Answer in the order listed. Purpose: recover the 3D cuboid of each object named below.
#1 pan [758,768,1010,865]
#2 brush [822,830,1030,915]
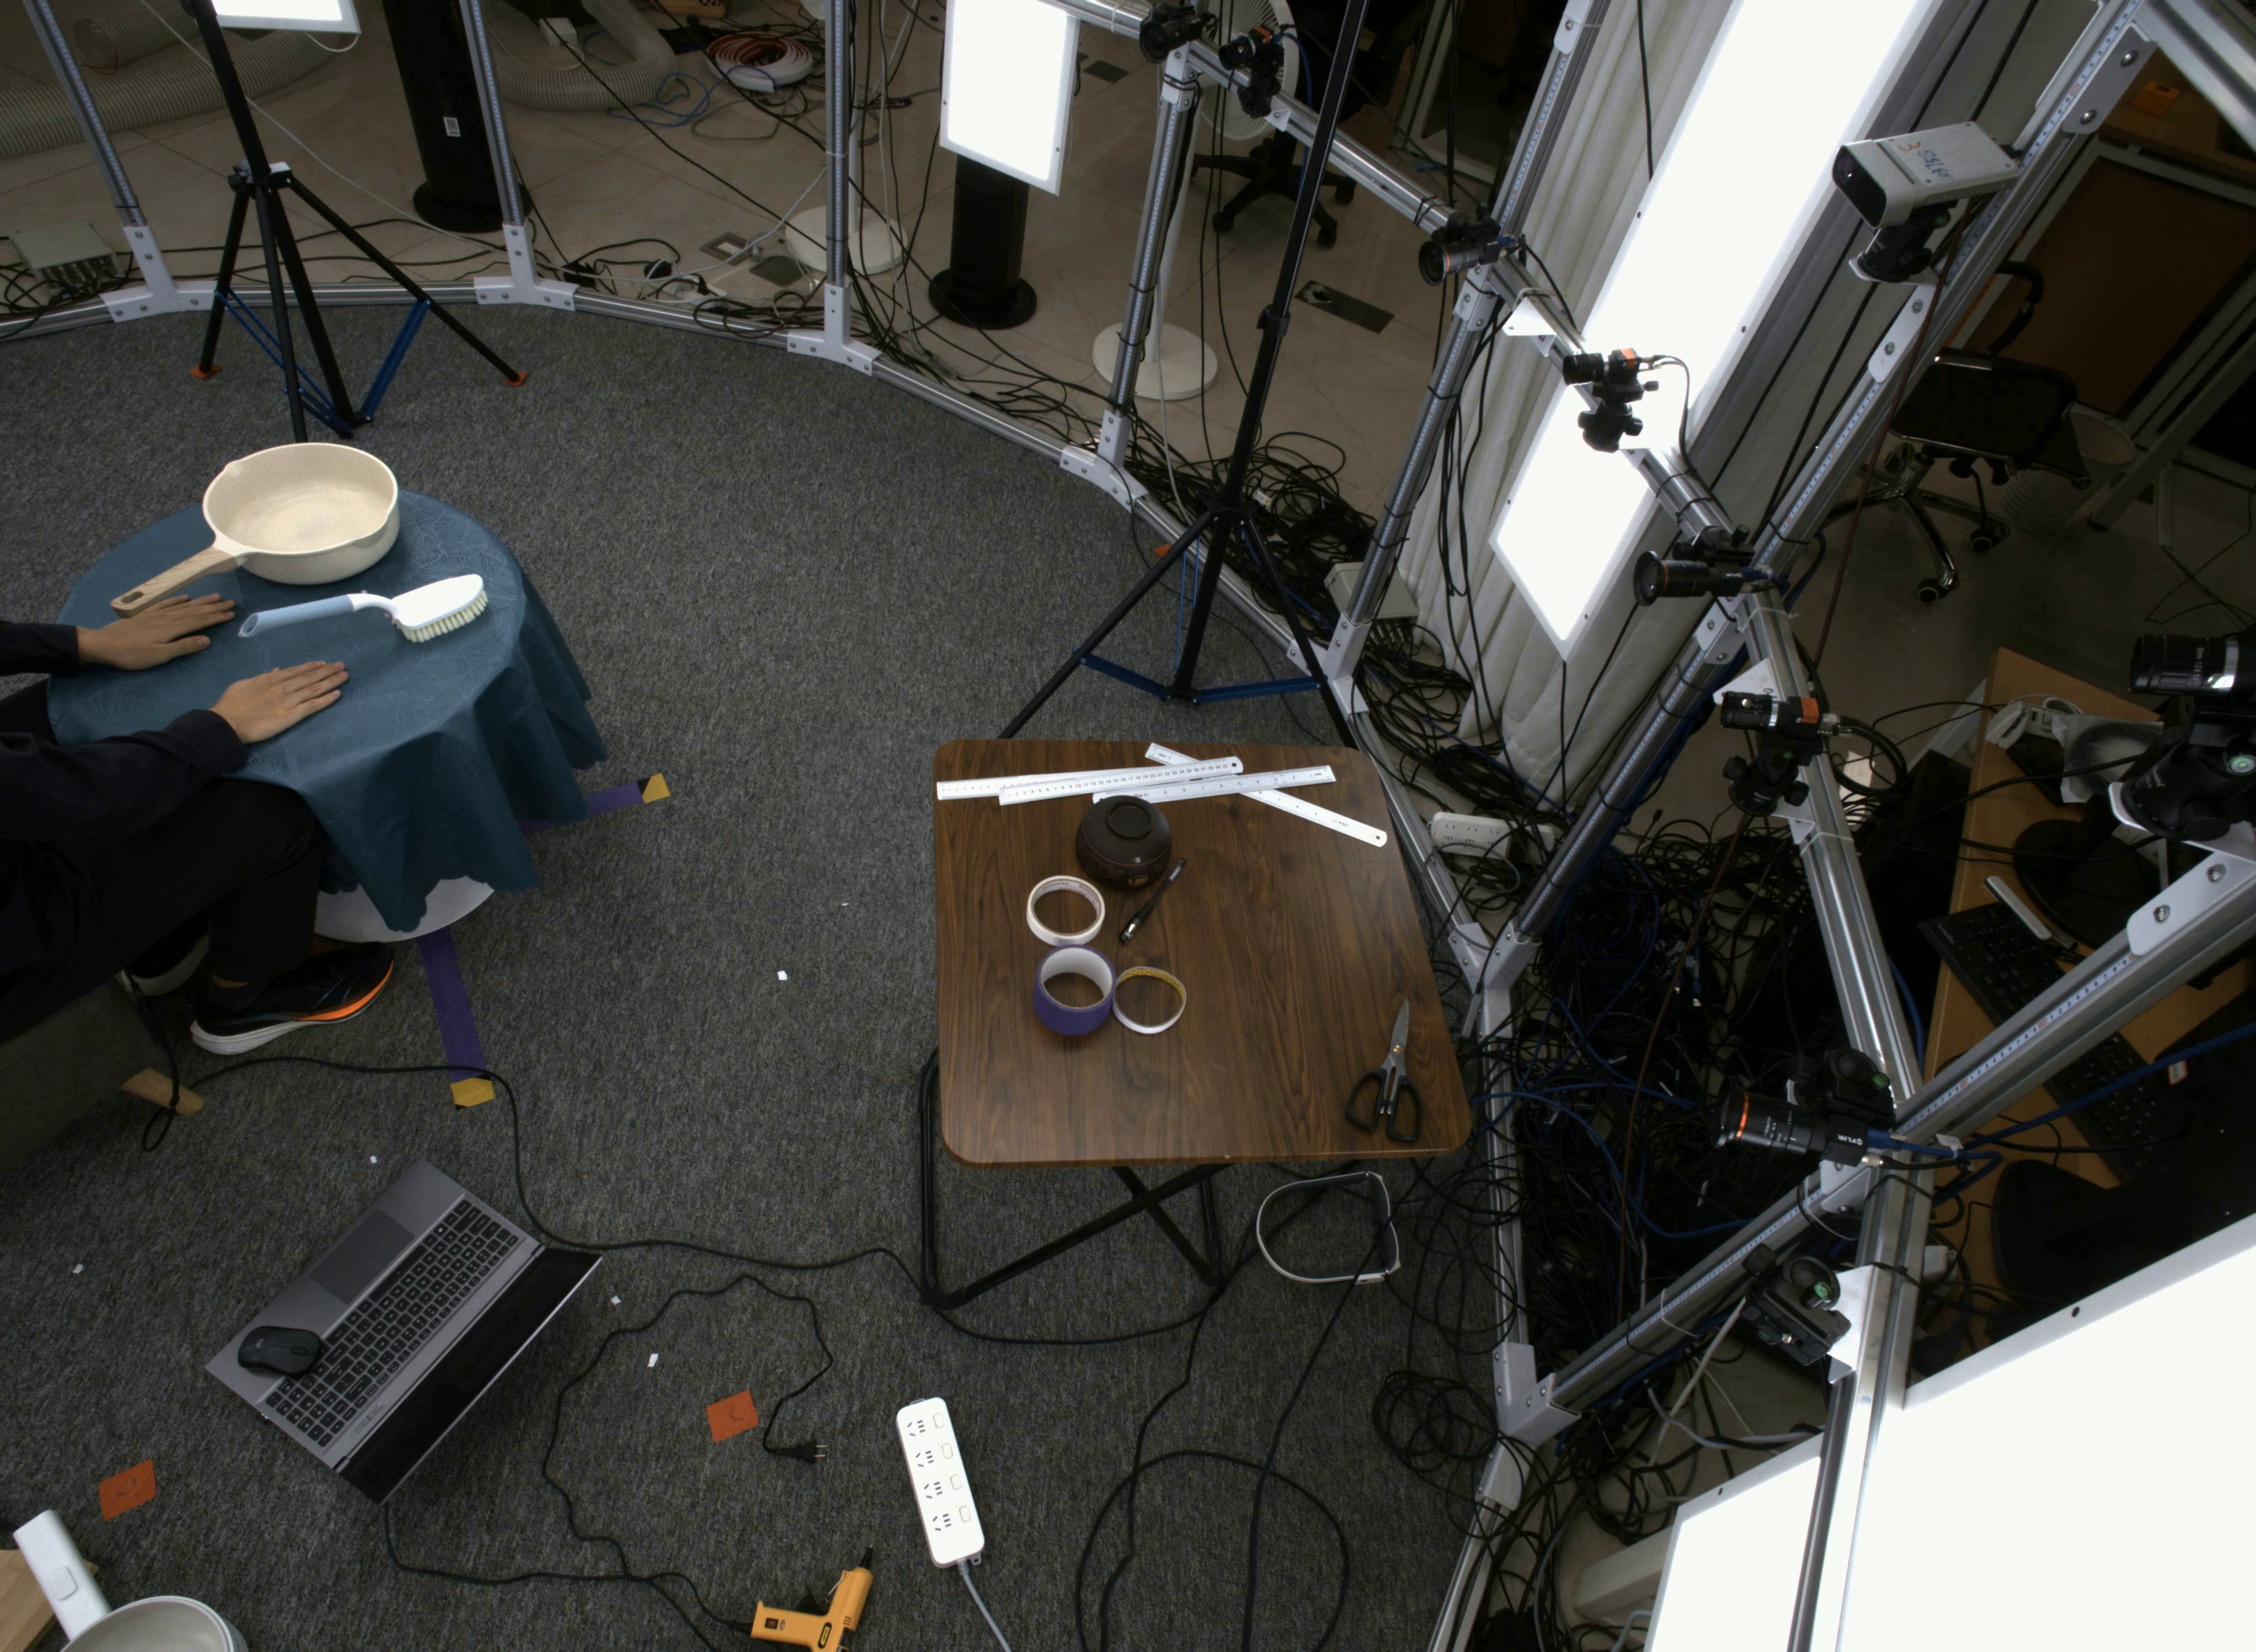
[{"bbox_3d":[-0.399,-0.007,2.132,0.440,0.105,0.253,-11,30,-36],"label":"pan"},{"bbox_3d":[-0.307,0.082,1.972,0.328,0.084,0.082,13,-16,-19],"label":"brush"}]
